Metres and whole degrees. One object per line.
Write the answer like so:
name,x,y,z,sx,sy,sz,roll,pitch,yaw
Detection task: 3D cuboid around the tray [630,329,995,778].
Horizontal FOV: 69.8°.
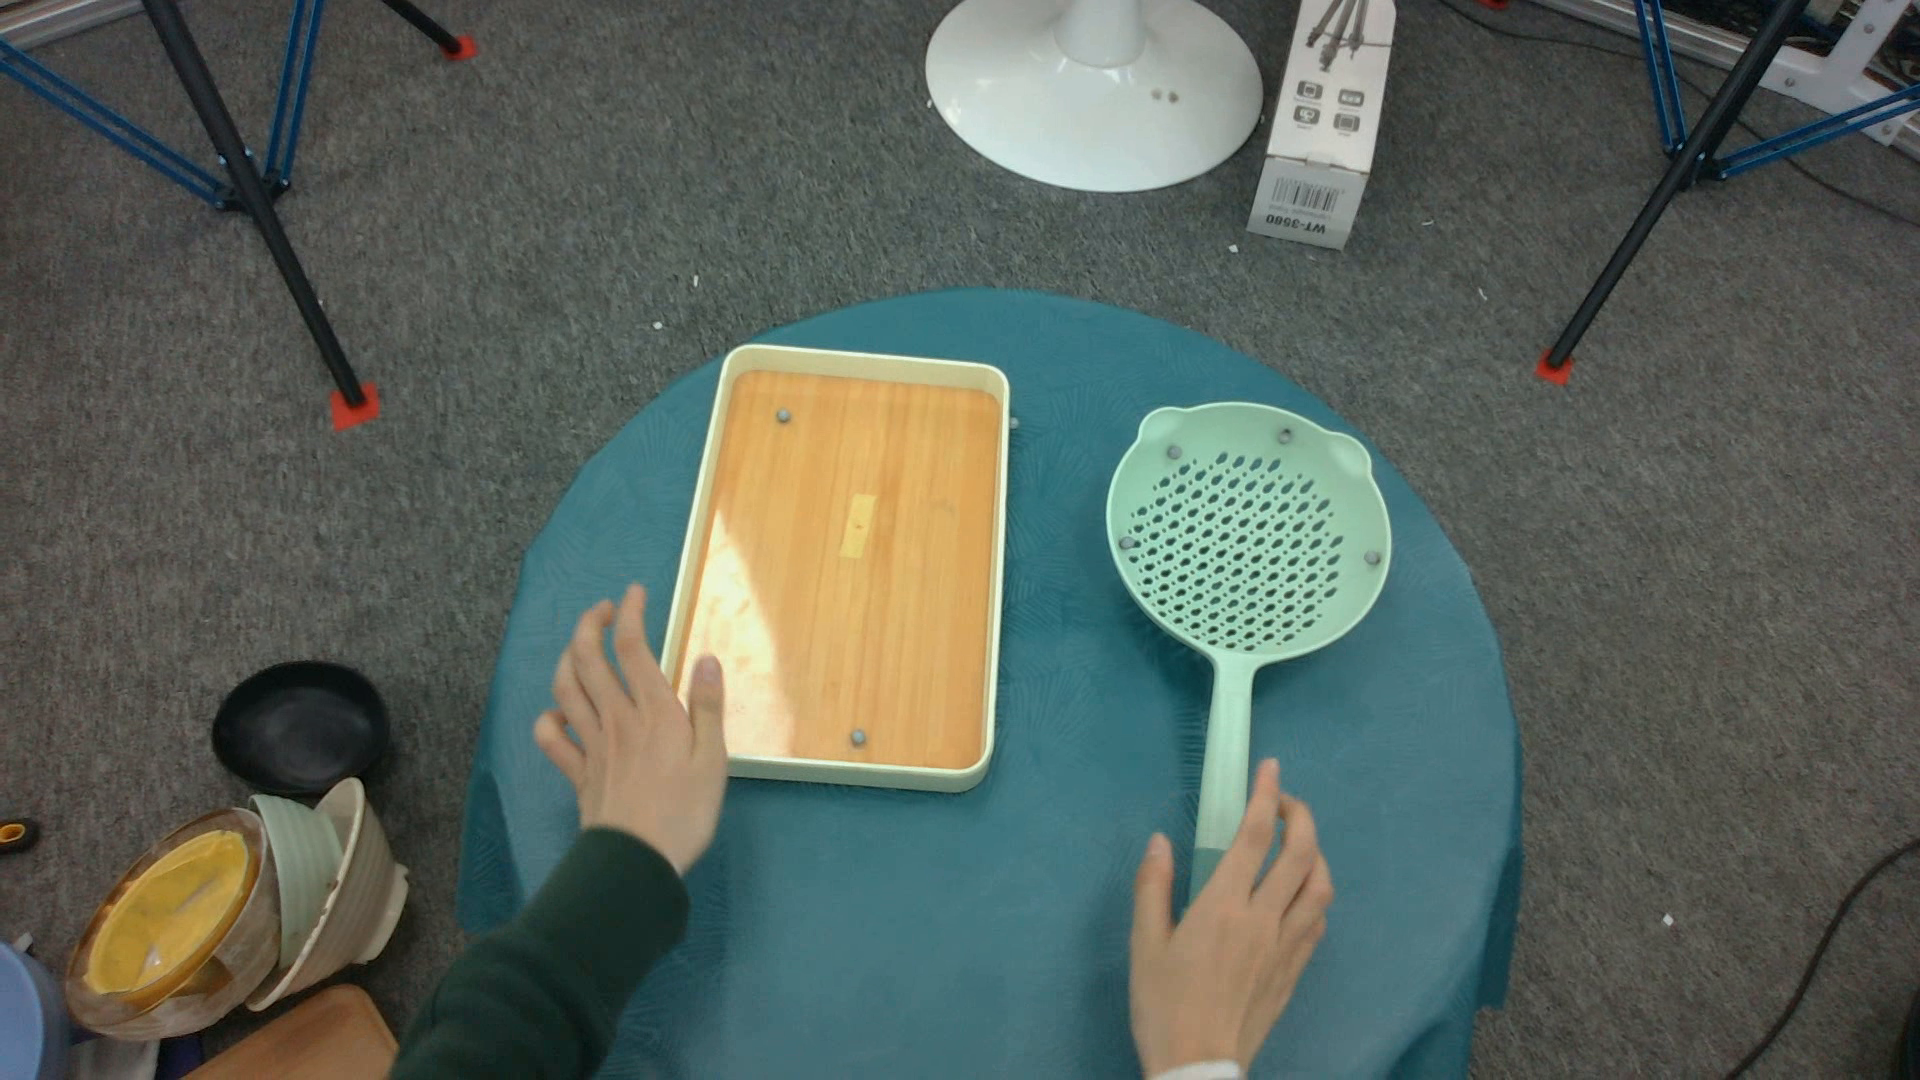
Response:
tray,-0.079,-0.003,0.837,0.191,0.027,0.301,5,55,-2

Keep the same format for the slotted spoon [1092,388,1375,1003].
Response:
slotted spoon,0.145,0.073,0.783,0.169,0.075,0.360,9,56,3
